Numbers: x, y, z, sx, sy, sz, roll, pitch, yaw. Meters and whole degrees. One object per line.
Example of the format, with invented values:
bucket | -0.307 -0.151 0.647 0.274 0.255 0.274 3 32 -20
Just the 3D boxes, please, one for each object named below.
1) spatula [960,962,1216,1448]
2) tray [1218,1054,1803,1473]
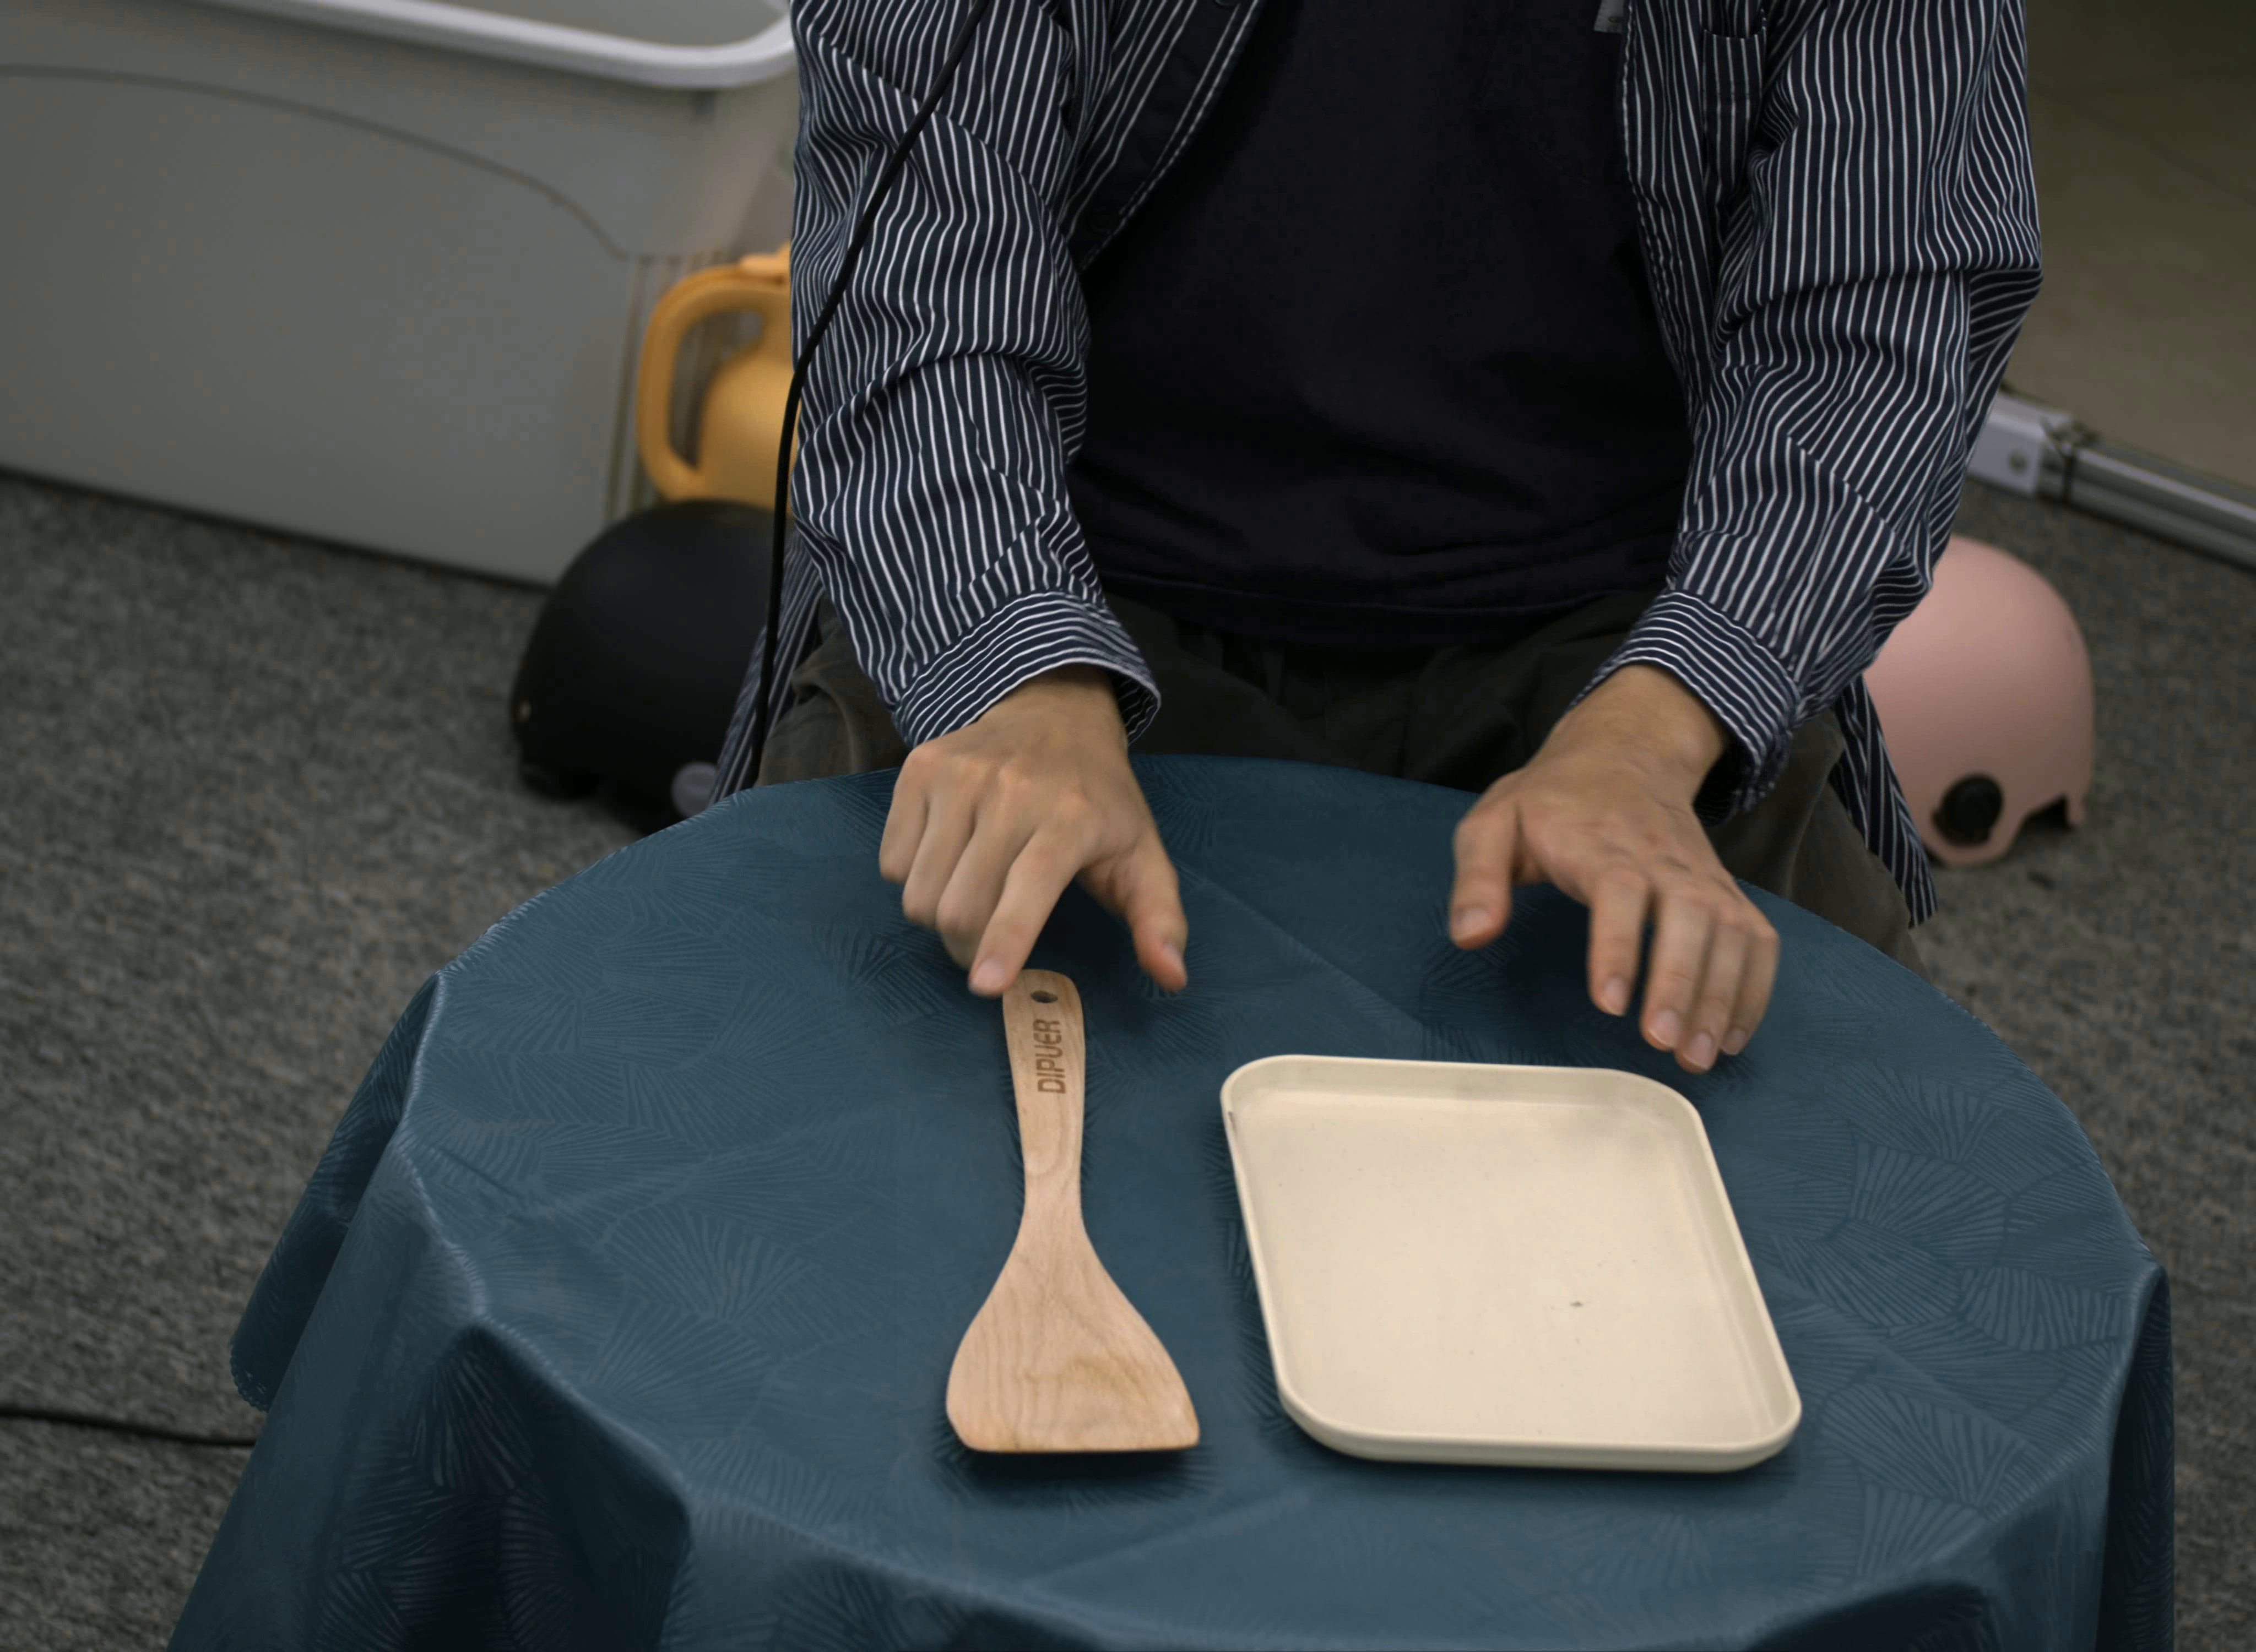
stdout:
spatula | -0.022 0.123 1.778 0.079 0.016 0.330 4 27 -6
tray | 0.122 0.144 1.765 0.170 0.017 0.241 3 27 -7
